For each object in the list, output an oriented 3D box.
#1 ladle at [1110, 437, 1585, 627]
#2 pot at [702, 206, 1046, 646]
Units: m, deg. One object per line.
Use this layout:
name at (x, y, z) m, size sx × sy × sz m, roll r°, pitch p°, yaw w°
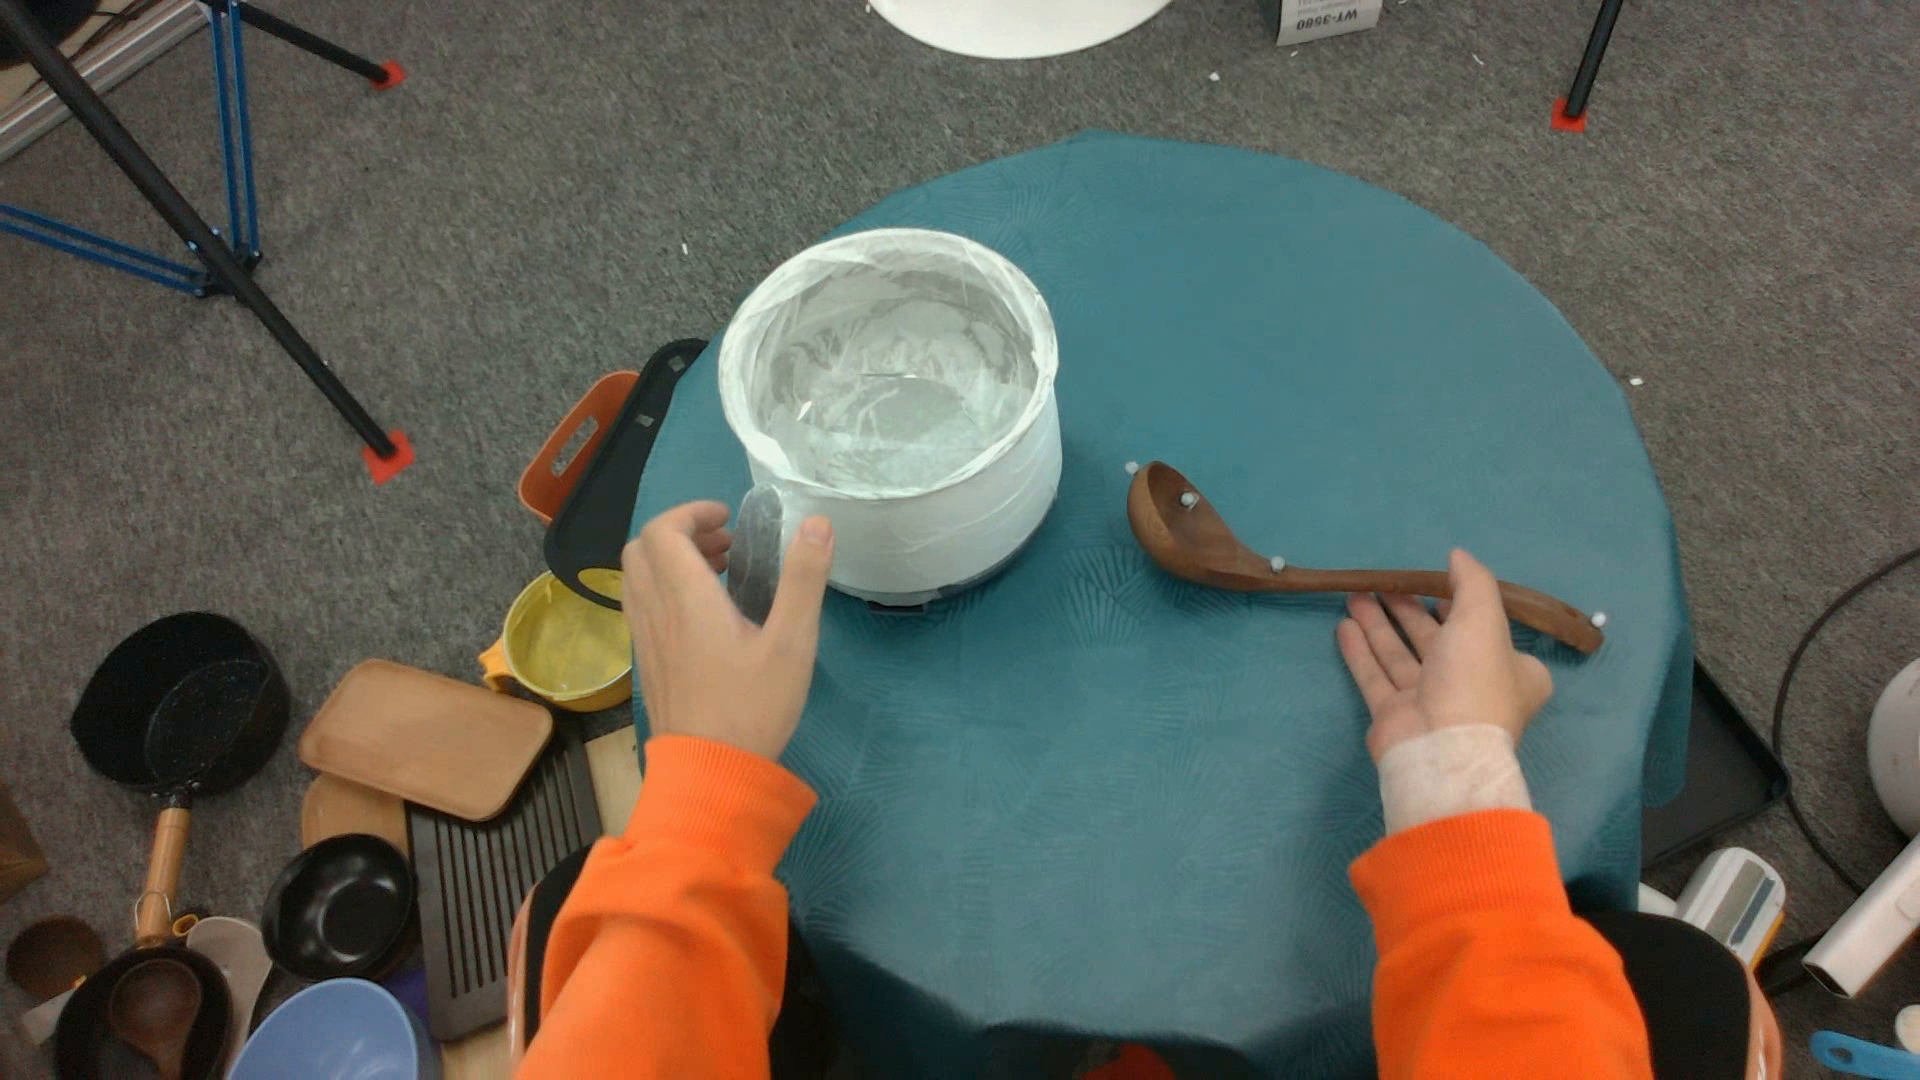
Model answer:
ladle at (0.209, -0.004, 0.746) m, size 0.260 × 0.065 × 0.077 m, roll 10°, pitch 36°, yaw 11°
pot at (-0.056, -0.054, 0.754) m, size 0.178 × 0.136 × 0.234 m, roll 27°, pitch 66°, yaw 19°
